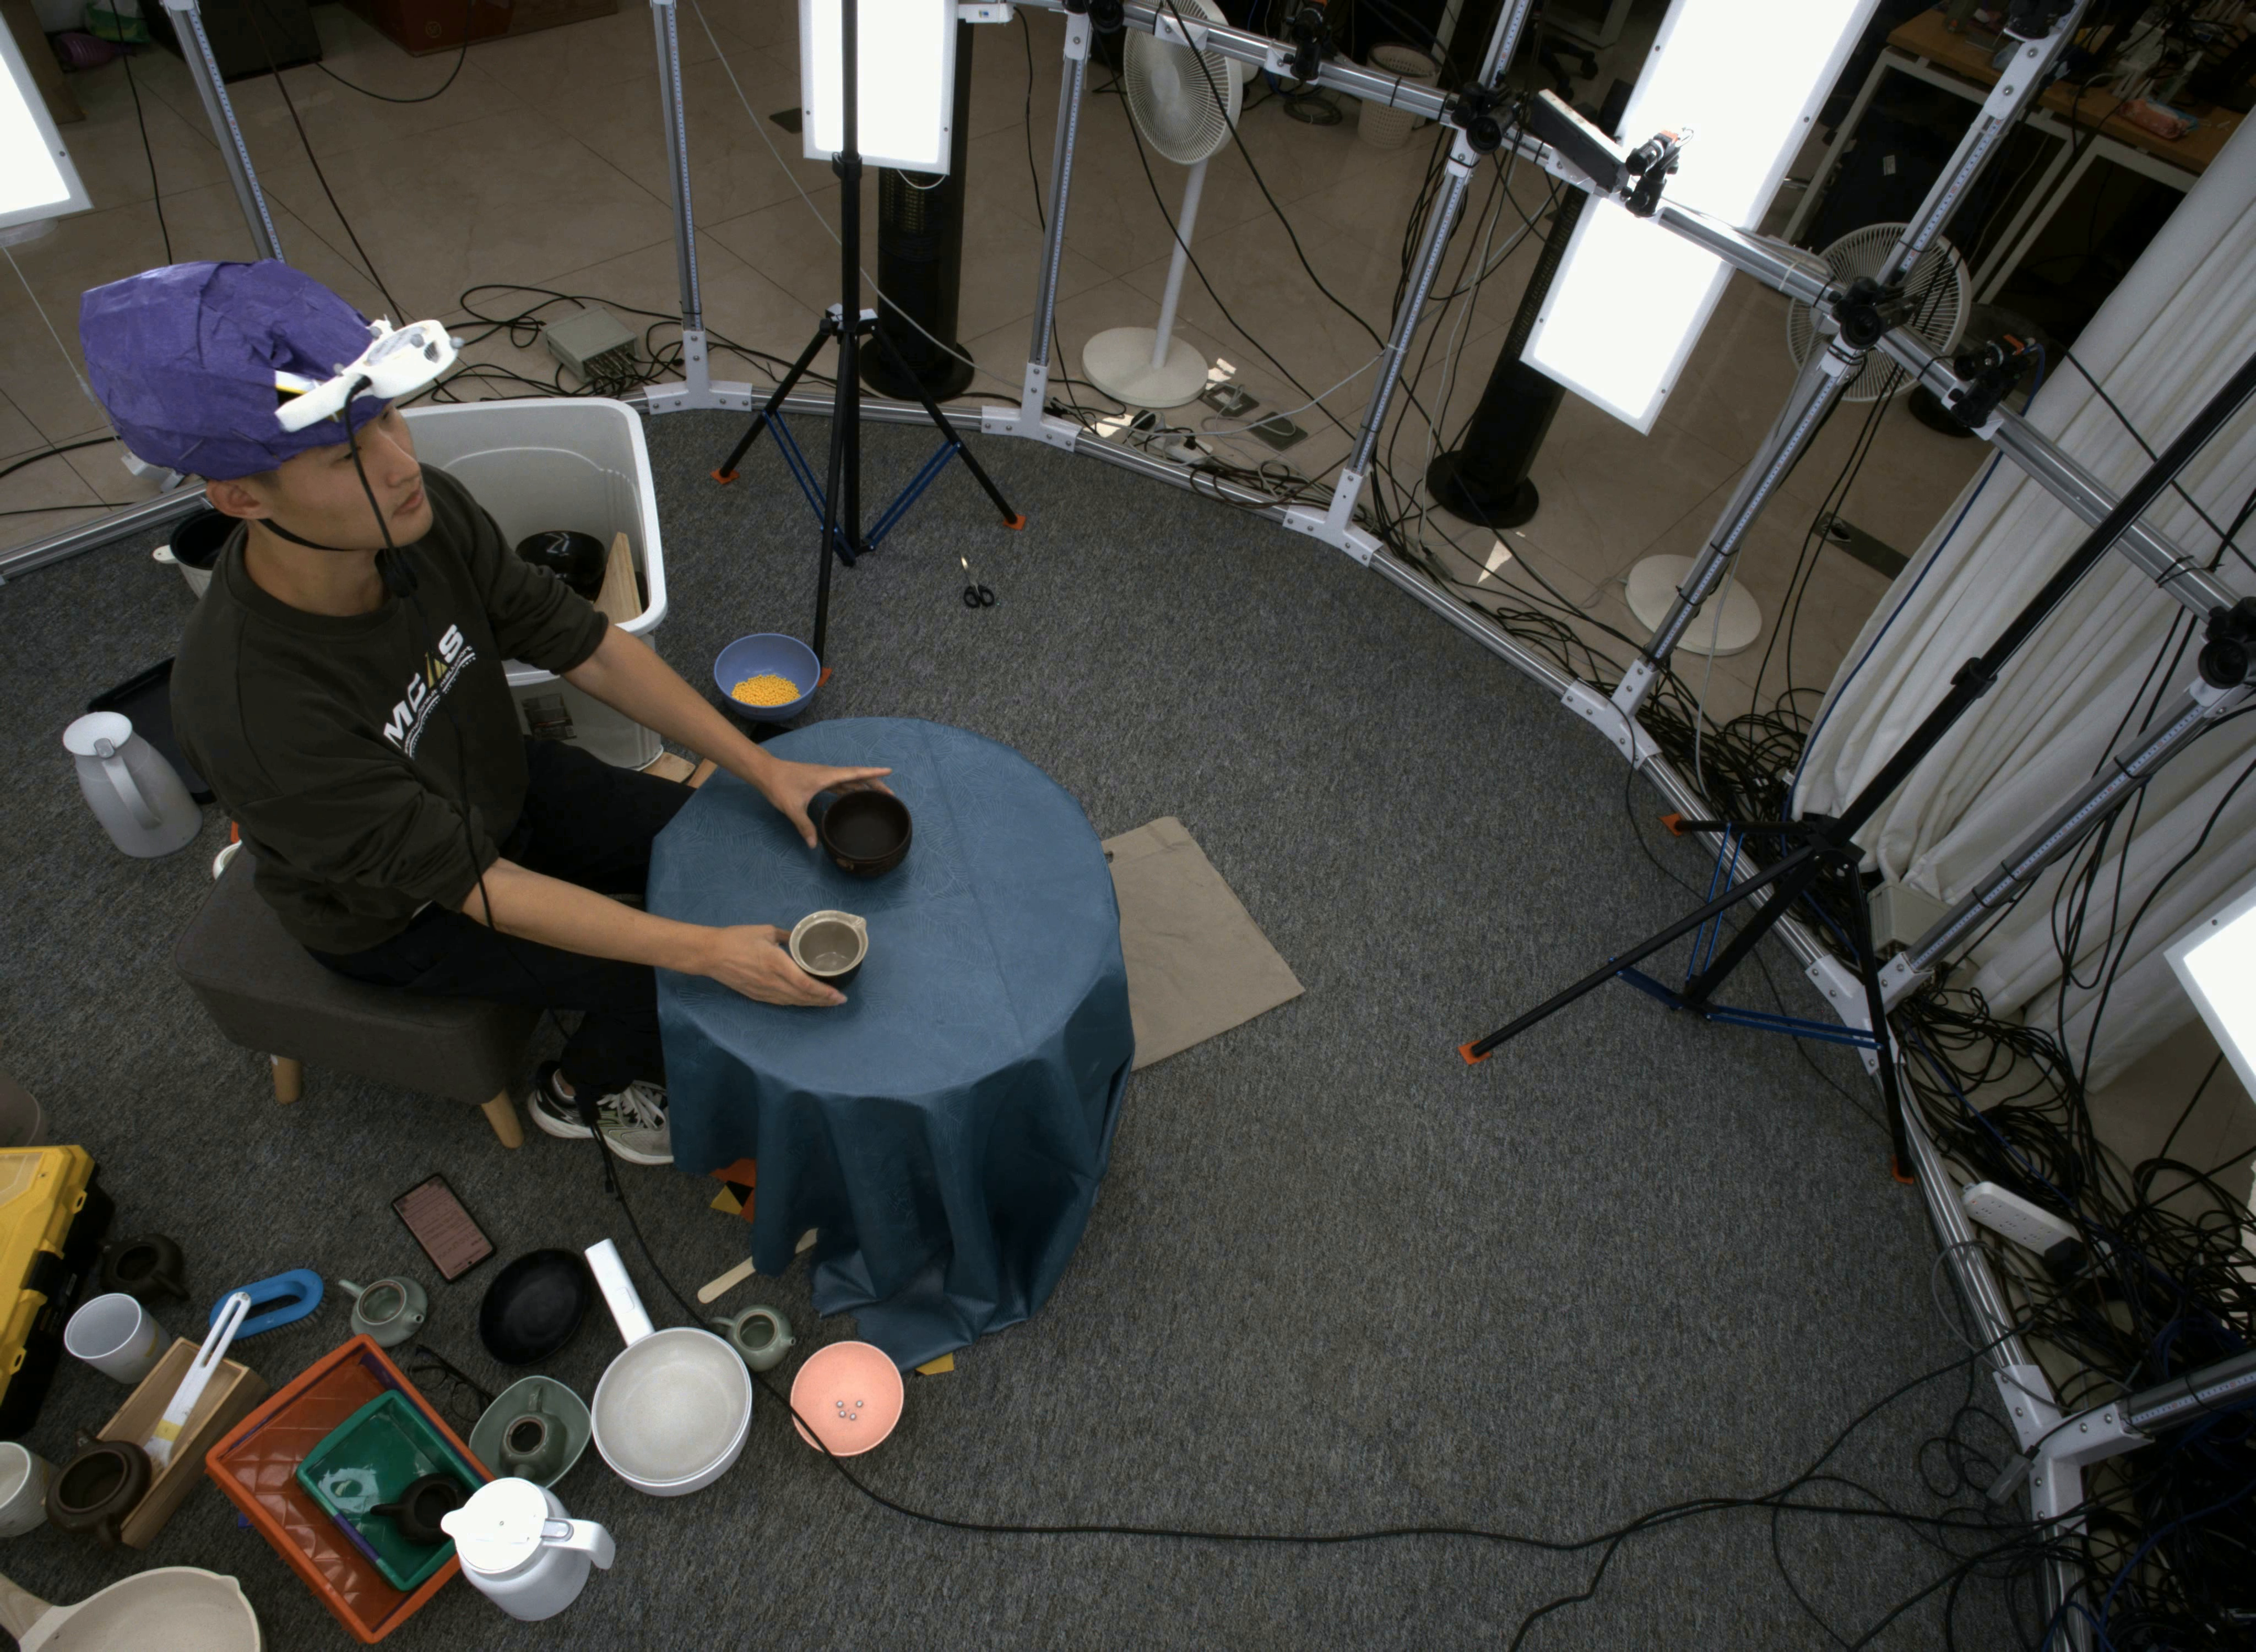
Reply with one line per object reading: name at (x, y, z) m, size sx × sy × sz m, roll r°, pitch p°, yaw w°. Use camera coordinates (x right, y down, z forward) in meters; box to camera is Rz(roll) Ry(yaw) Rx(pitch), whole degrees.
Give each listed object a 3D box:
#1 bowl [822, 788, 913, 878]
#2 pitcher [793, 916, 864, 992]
bowl at (-0.340, 0.016, 1.697) m, size 0.118 × 0.071 × 0.116 m, roll 8°, pitch 53°, yaw -9°
pitcher at (-0.361, 0.157, 1.585) m, size 0.096 × 0.073 × 0.081 m, roll -32°, pitch 63°, yaw -29°
